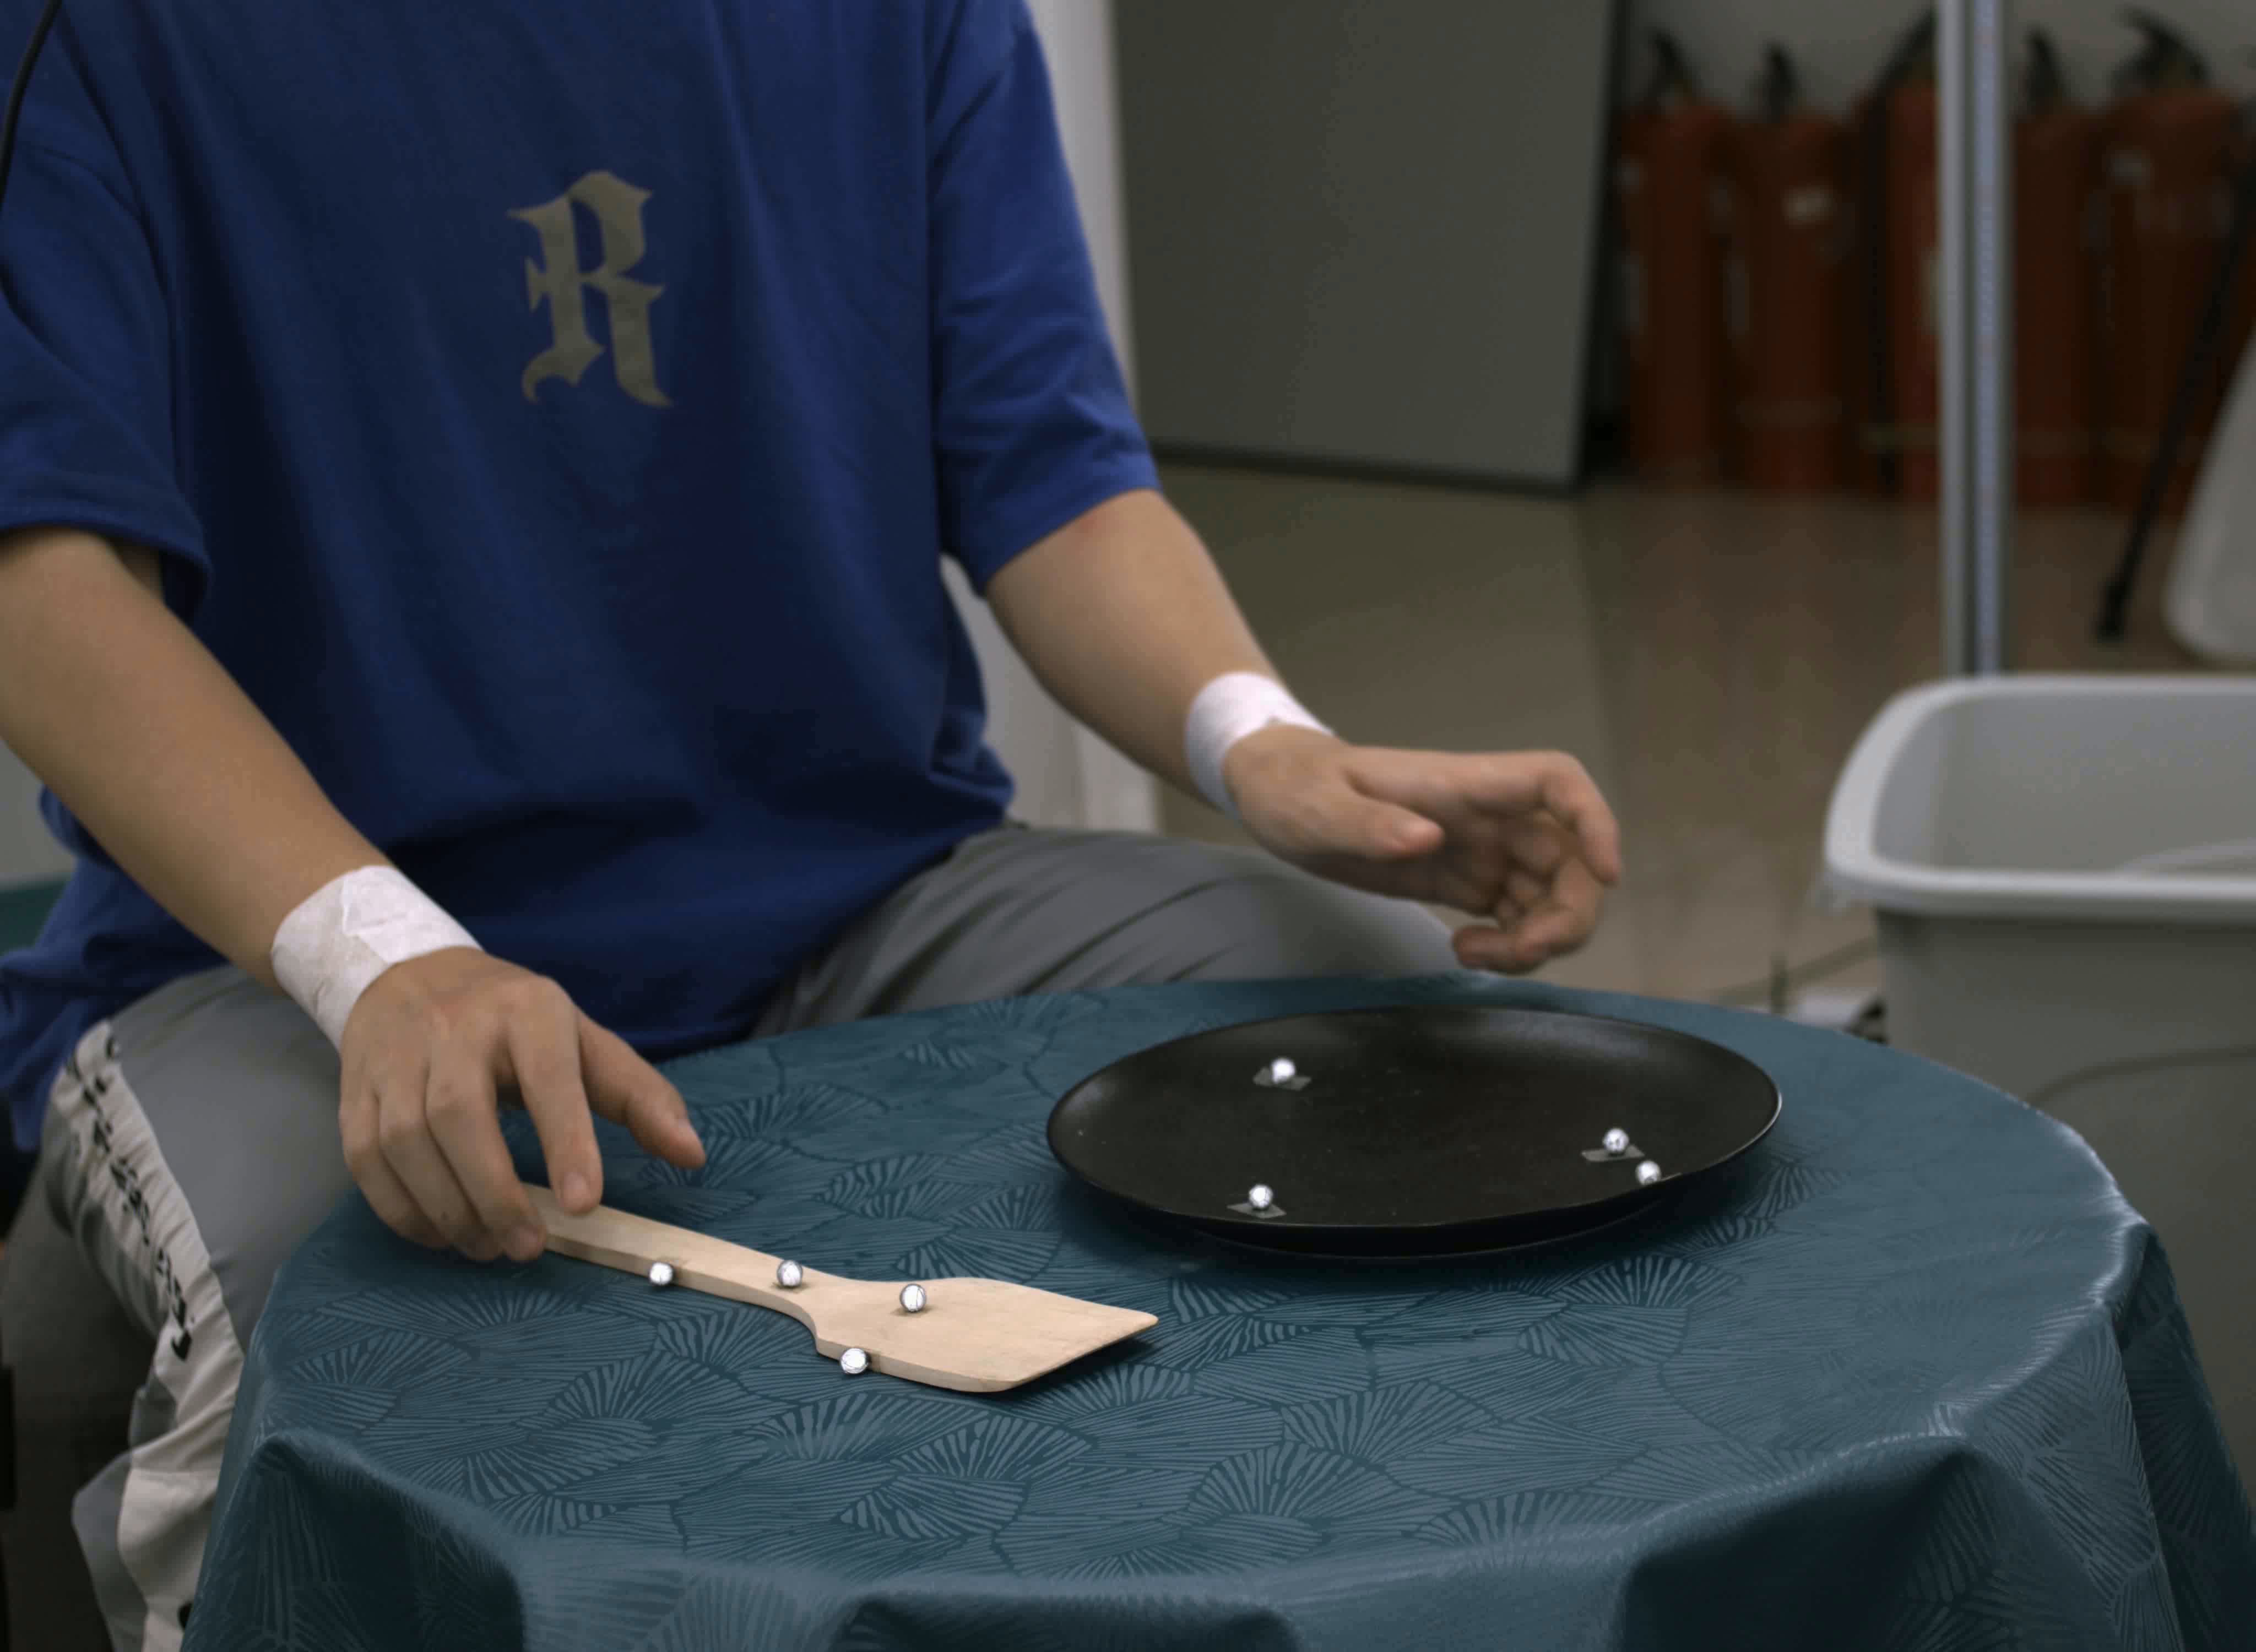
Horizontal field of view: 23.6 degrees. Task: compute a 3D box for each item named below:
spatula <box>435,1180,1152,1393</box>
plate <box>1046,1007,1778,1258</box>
[{"bbox_3d":[-0.119,0.142,1.701,0.295,0.011,0.071,9,20,43],"label":"spatula"},{"bbox_3d":[0.093,0.103,1.770,0.241,0.024,0.245,-4,14,0],"label":"plate"}]
